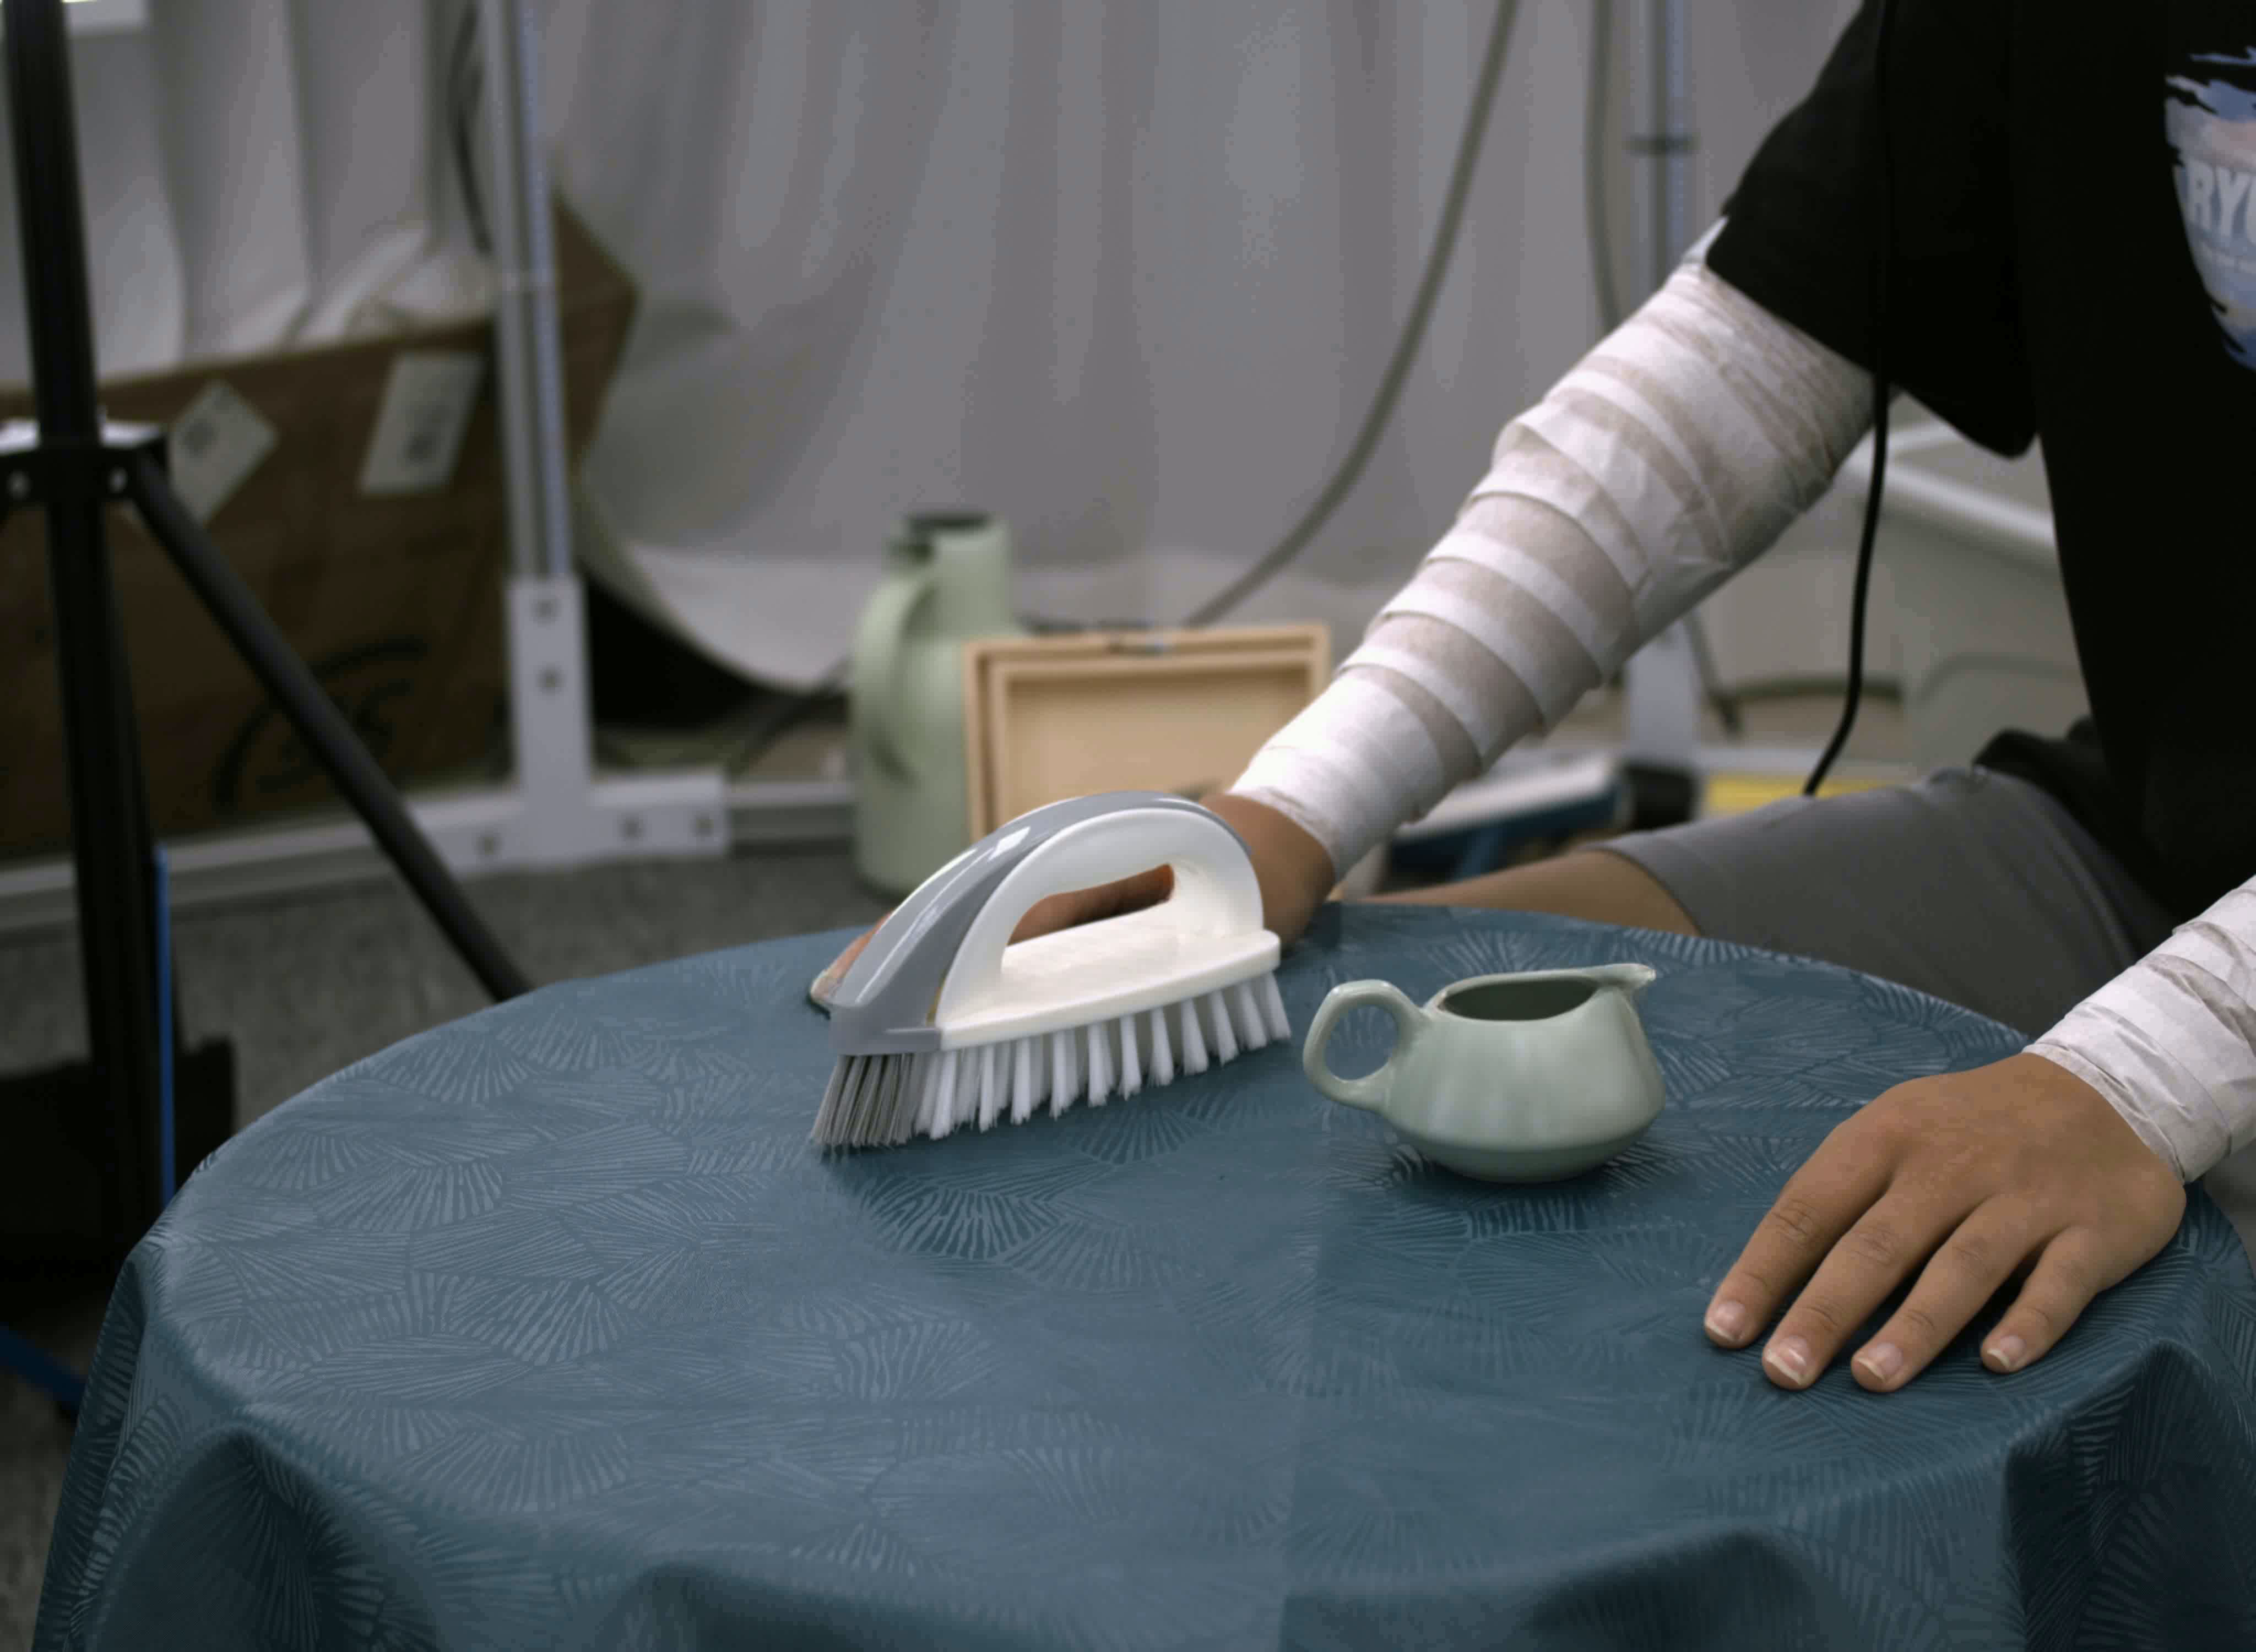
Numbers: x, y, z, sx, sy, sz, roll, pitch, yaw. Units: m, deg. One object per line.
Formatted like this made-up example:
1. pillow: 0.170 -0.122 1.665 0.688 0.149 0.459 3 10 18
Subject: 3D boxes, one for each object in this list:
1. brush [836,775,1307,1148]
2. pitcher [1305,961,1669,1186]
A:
1. brush: -0.025 0.039 1.642 0.171 0.094 0.063 -17 16 -37
2. pitcher: 0.106 0.073 1.564 0.107 0.060 0.087 -7 15 -9
